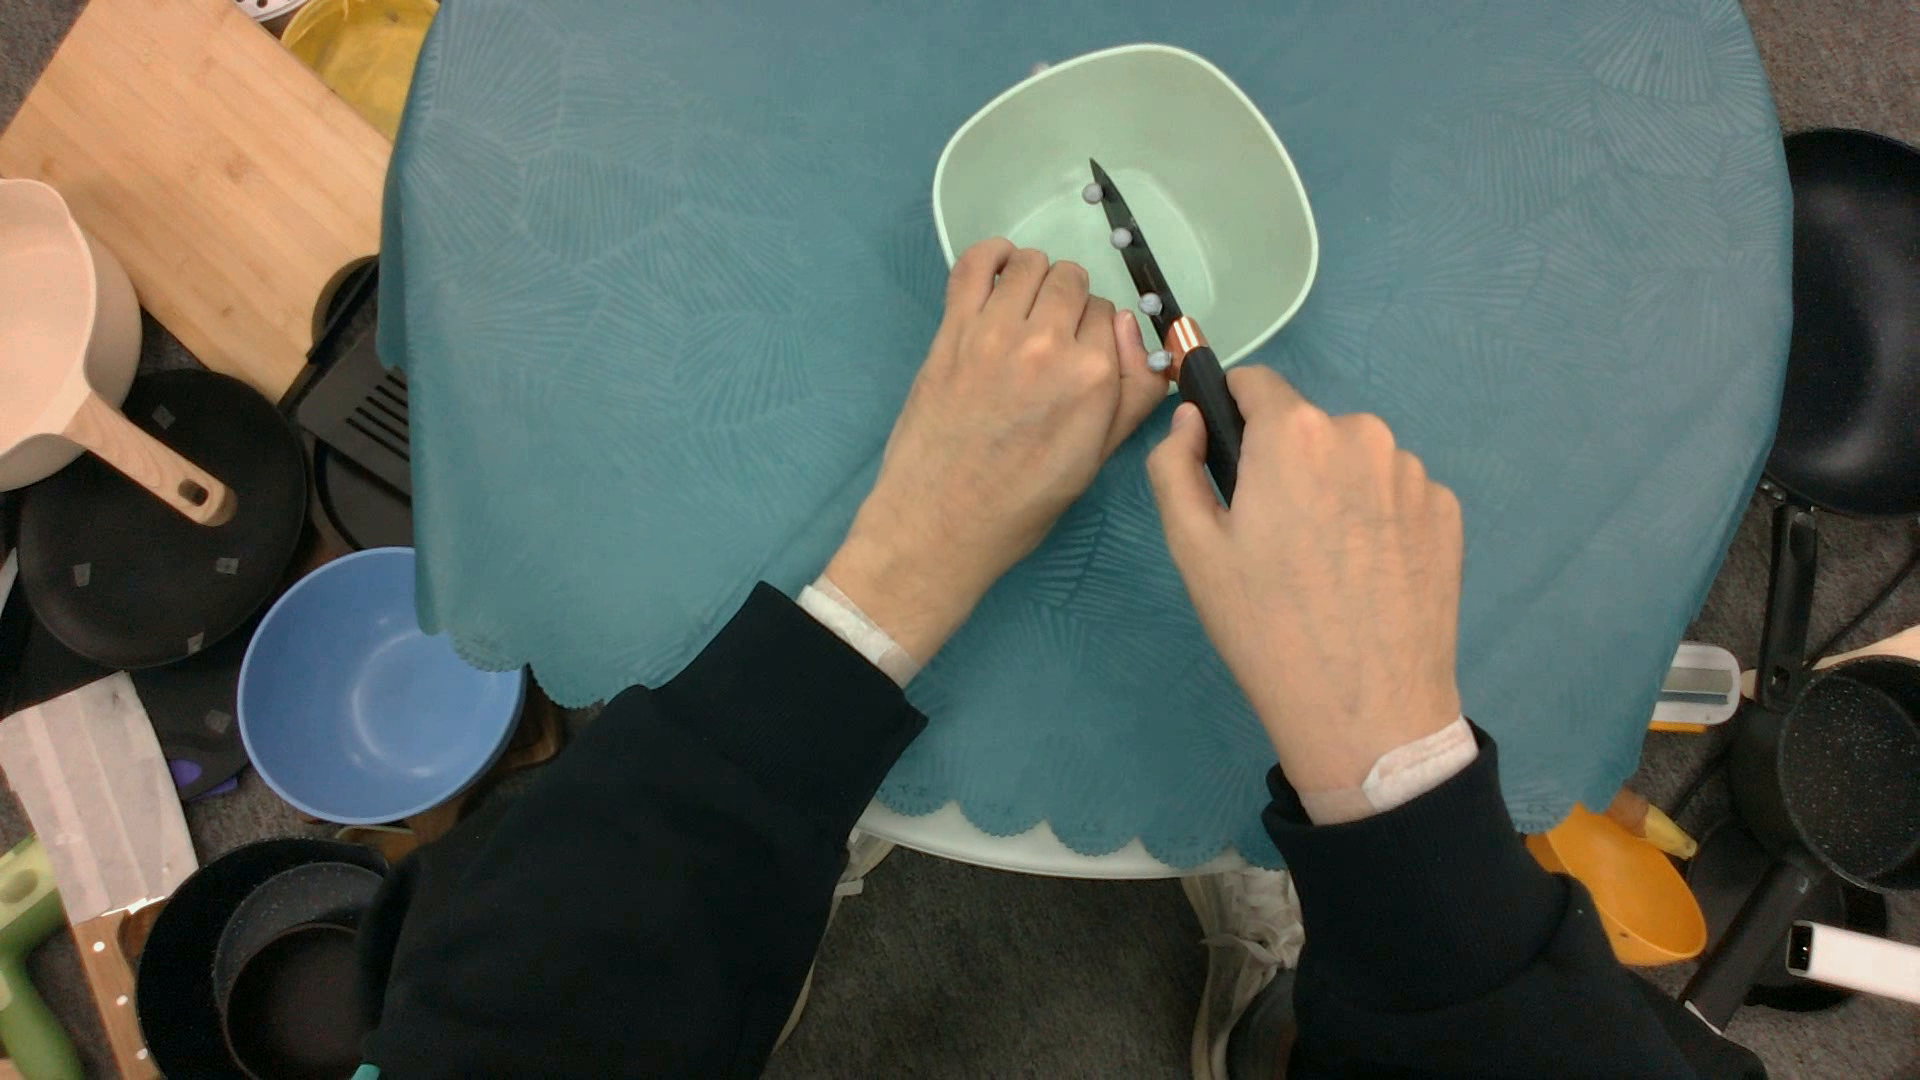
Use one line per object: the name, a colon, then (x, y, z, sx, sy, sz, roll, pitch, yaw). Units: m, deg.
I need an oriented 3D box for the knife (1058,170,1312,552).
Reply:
knife: (0.074, -0.079, 0.505, 0.017, 0.026, 0.226, -12, 49, -11)

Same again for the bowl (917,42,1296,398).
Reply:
bowl: (0.056, -0.121, 0.559, 0.151, 0.058, 0.151, 1, 78, -3)
